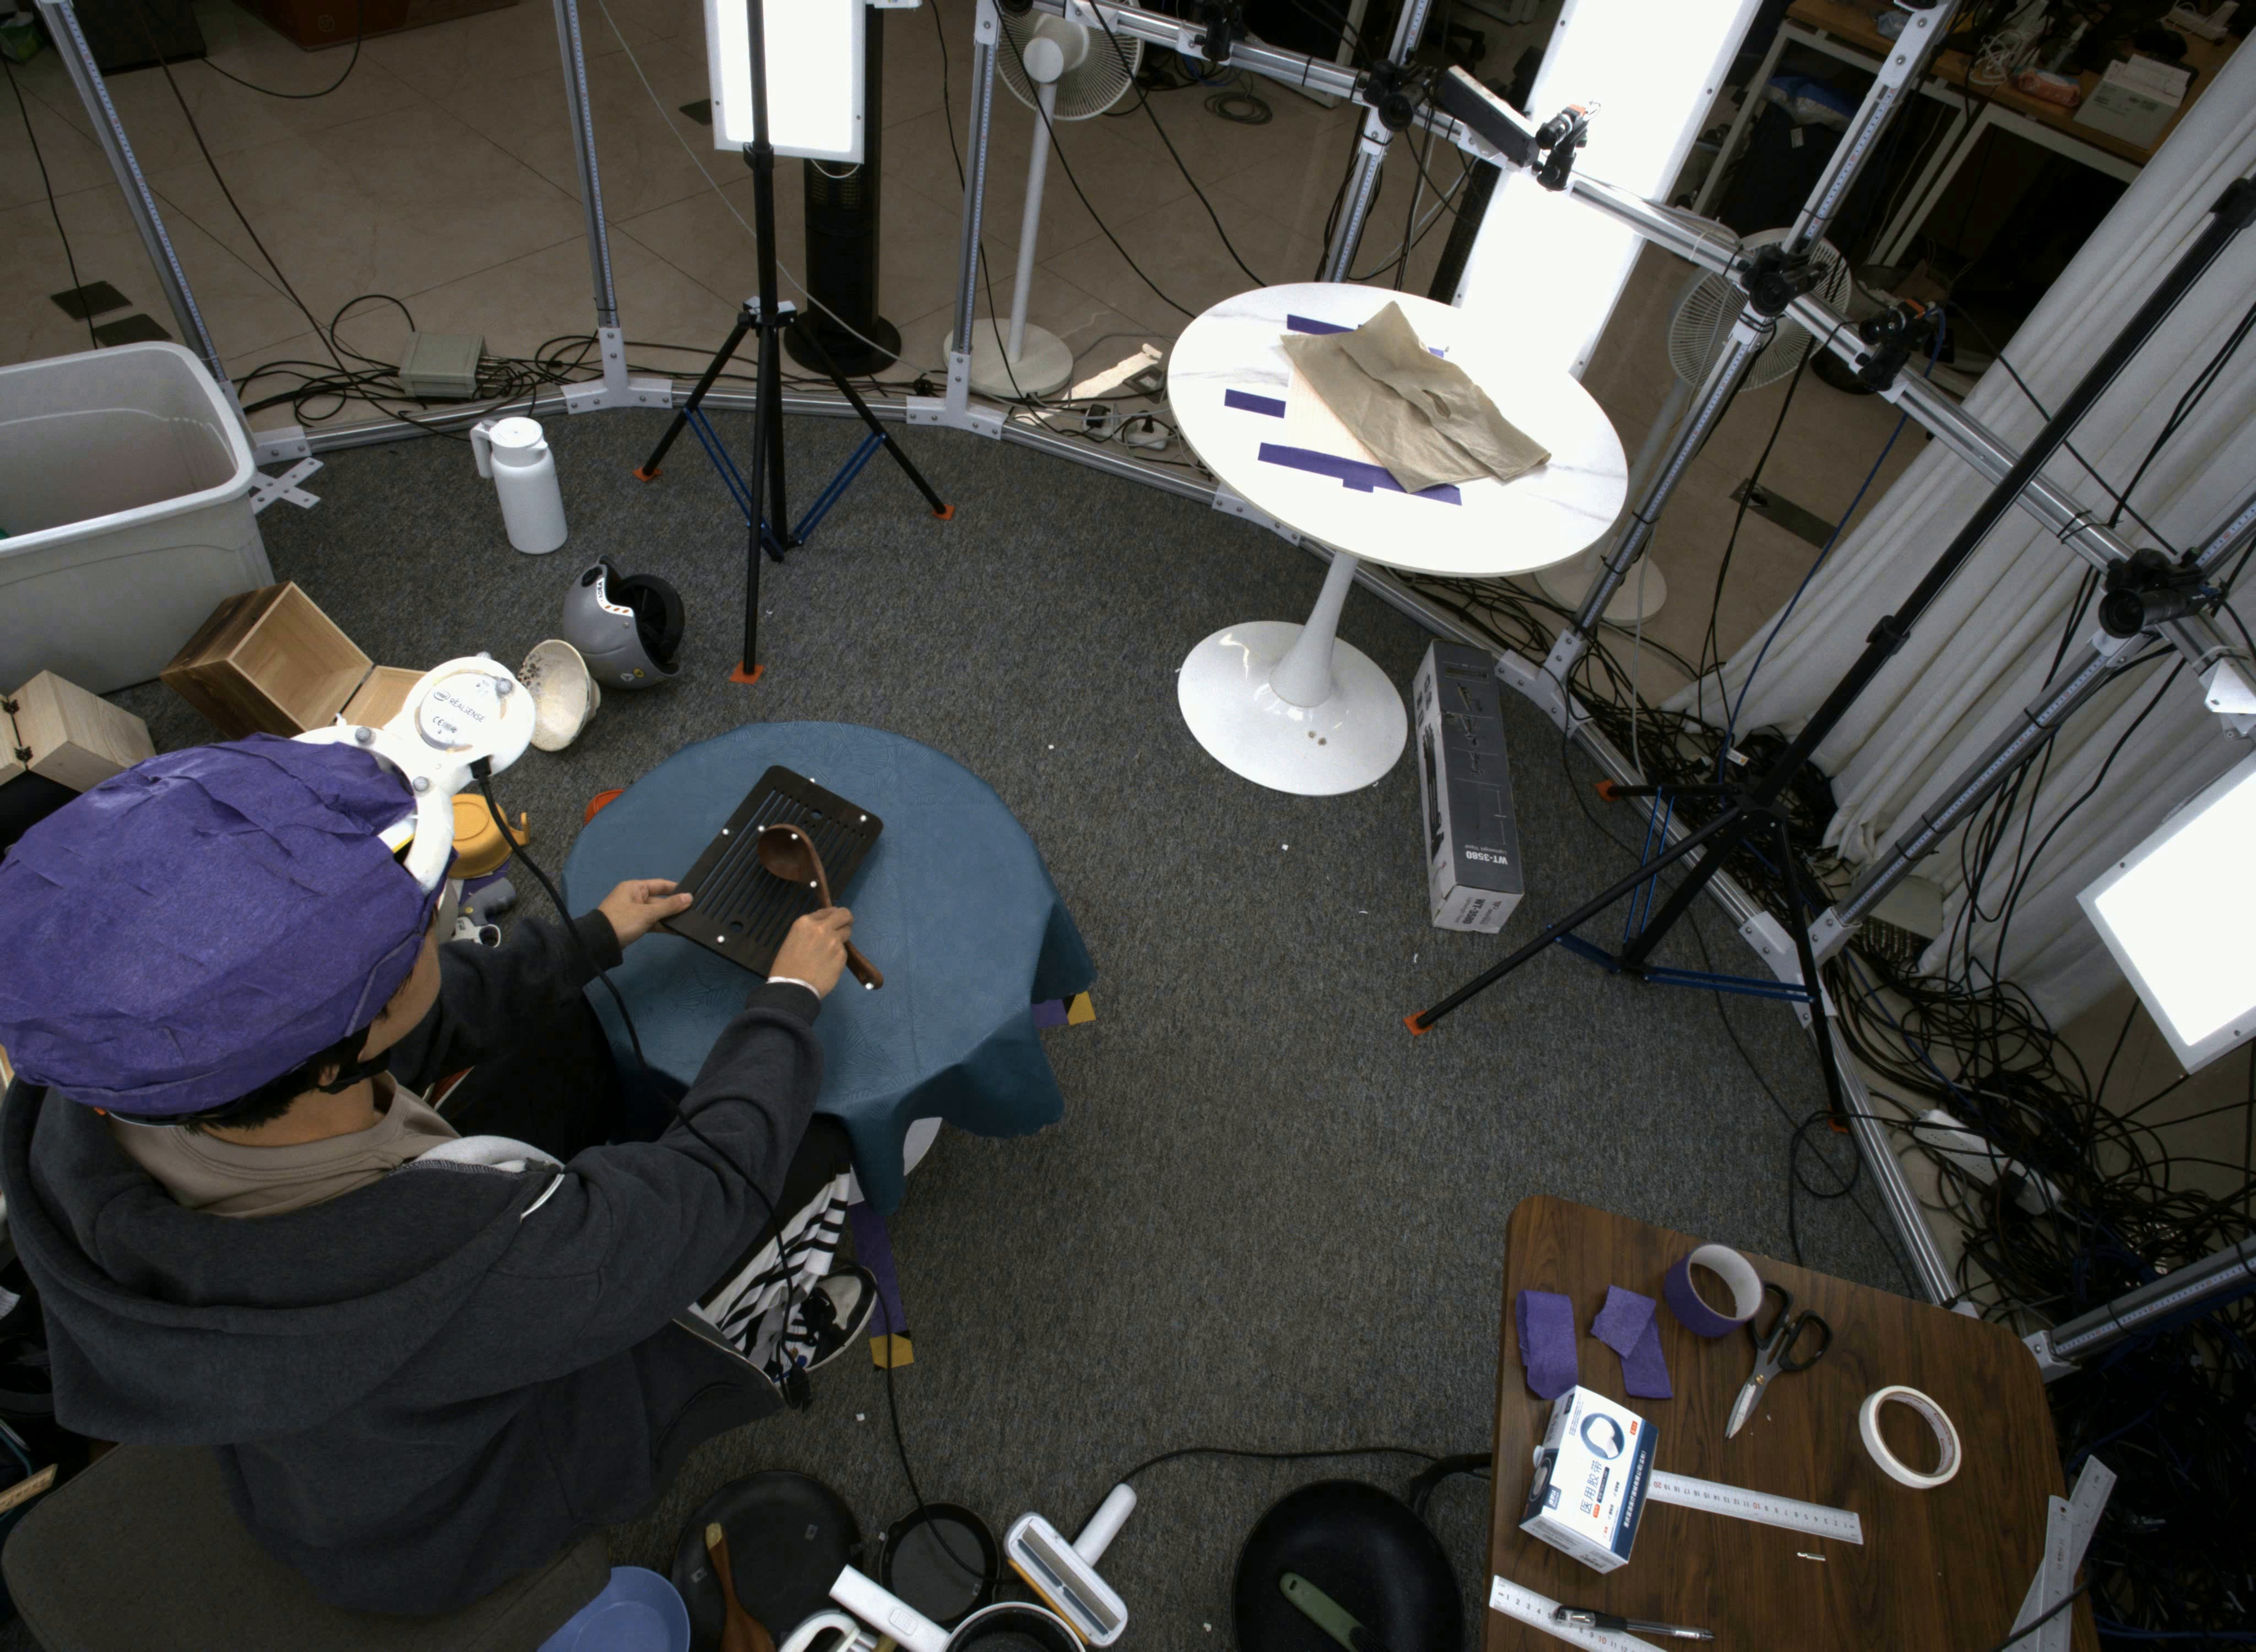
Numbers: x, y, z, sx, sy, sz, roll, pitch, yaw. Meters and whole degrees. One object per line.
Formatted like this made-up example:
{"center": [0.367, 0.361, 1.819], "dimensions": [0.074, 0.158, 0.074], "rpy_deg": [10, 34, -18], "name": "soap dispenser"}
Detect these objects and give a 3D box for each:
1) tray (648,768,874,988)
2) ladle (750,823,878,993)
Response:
{"center": [-0.450, 0.058, 1.607], "dimensions": [0.170, 0.019, 0.302], "rpy_deg": [29, 43, -7], "name": "tray"}
{"center": [-0.374, 0.098, 1.529], "dimensions": [0.066, 0.077, 0.253], "rpy_deg": [-5, 49, -41], "name": "ladle"}
